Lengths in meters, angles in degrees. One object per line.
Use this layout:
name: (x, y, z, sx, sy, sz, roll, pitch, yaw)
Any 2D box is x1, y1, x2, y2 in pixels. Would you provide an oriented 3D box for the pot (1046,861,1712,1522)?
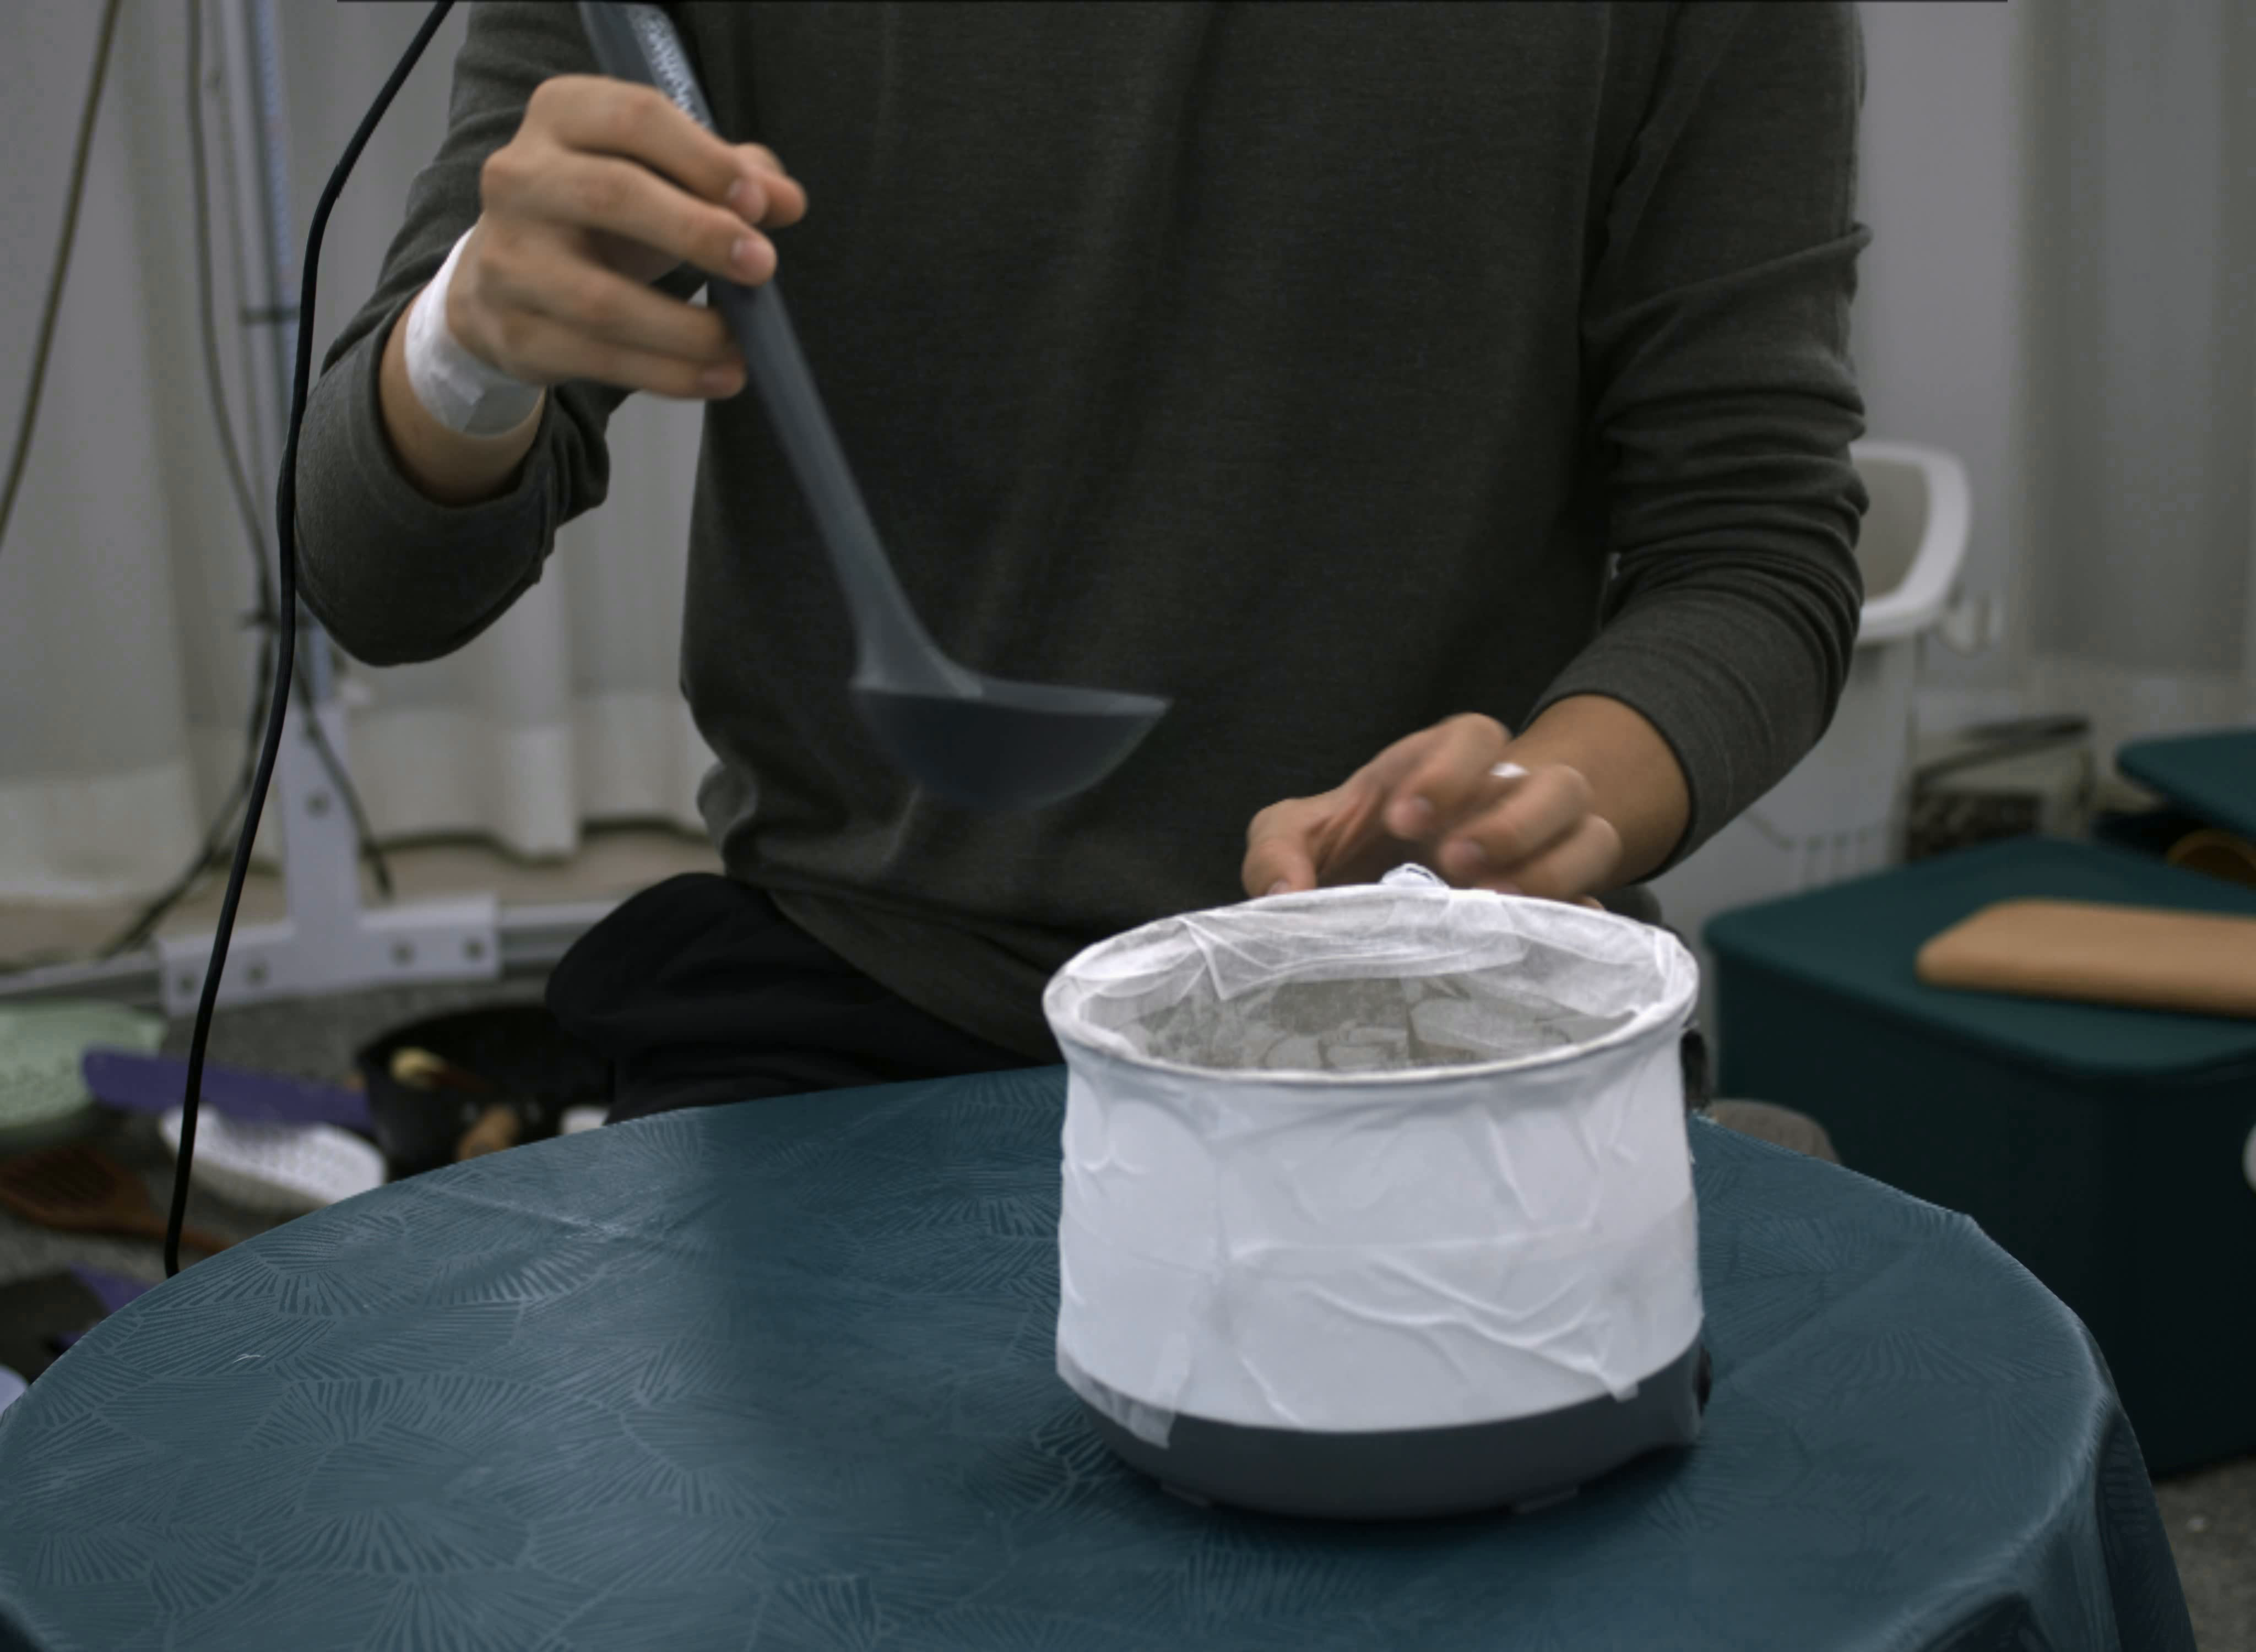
pot: (0.072, 0.095, 1.512, 0.178, 0.136, 0.235, 0, 15, 9)

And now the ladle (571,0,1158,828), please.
ladle: (-0.085, -0.132, 1.487, 0.085, 0.318, 0.063, 5, -38, -44)
